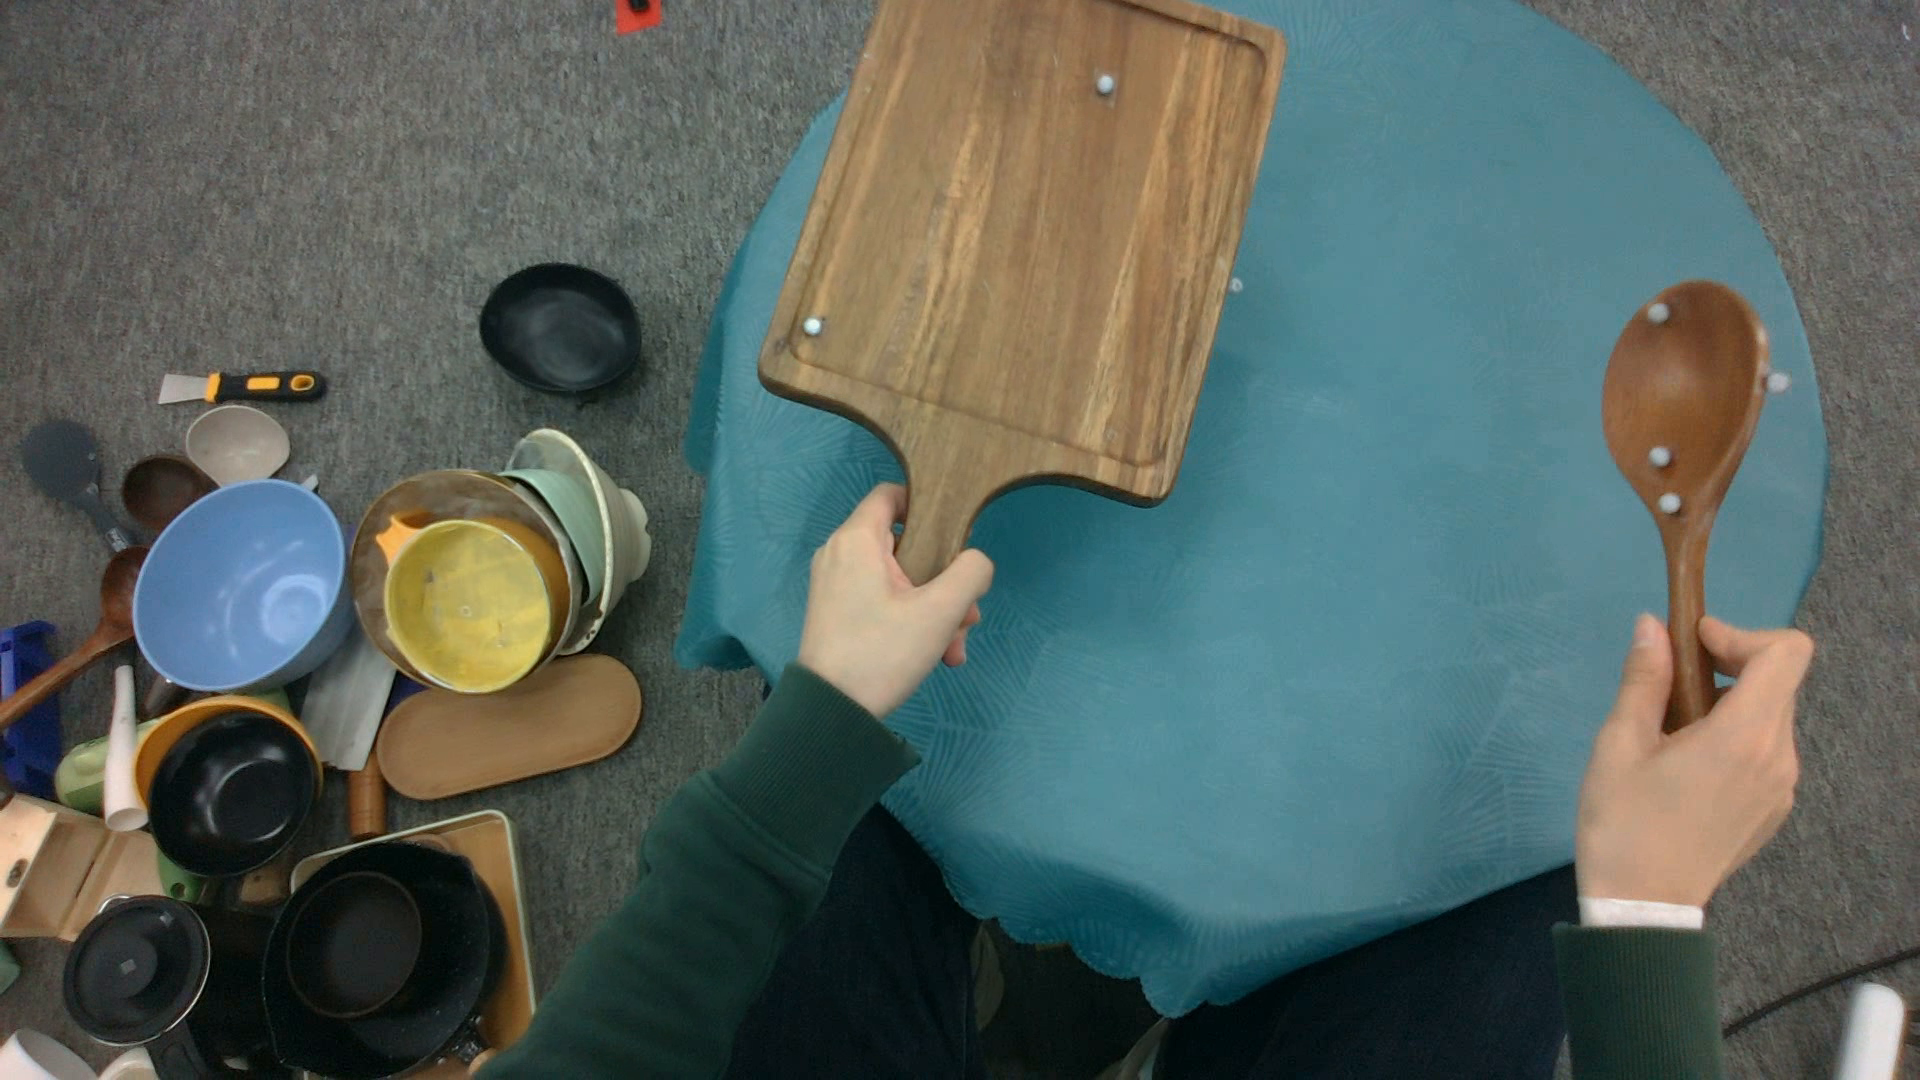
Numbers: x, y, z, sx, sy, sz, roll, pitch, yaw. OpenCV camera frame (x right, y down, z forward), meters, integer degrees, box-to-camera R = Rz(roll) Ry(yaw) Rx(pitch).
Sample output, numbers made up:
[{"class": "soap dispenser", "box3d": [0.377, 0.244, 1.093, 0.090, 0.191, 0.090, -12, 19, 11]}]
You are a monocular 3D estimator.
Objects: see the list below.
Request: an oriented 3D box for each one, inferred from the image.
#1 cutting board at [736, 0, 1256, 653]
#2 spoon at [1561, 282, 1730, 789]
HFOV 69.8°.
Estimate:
[{"class": "cutting board", "box3d": [0.011, -0.118, 0.637, 0.201, 0.023, 0.353, 17, 75, -4]}, {"class": "spoon", "box3d": [0.288, -0.005, 0.573, 0.017, 0.075, 0.216, 15, 72, -28]}]
